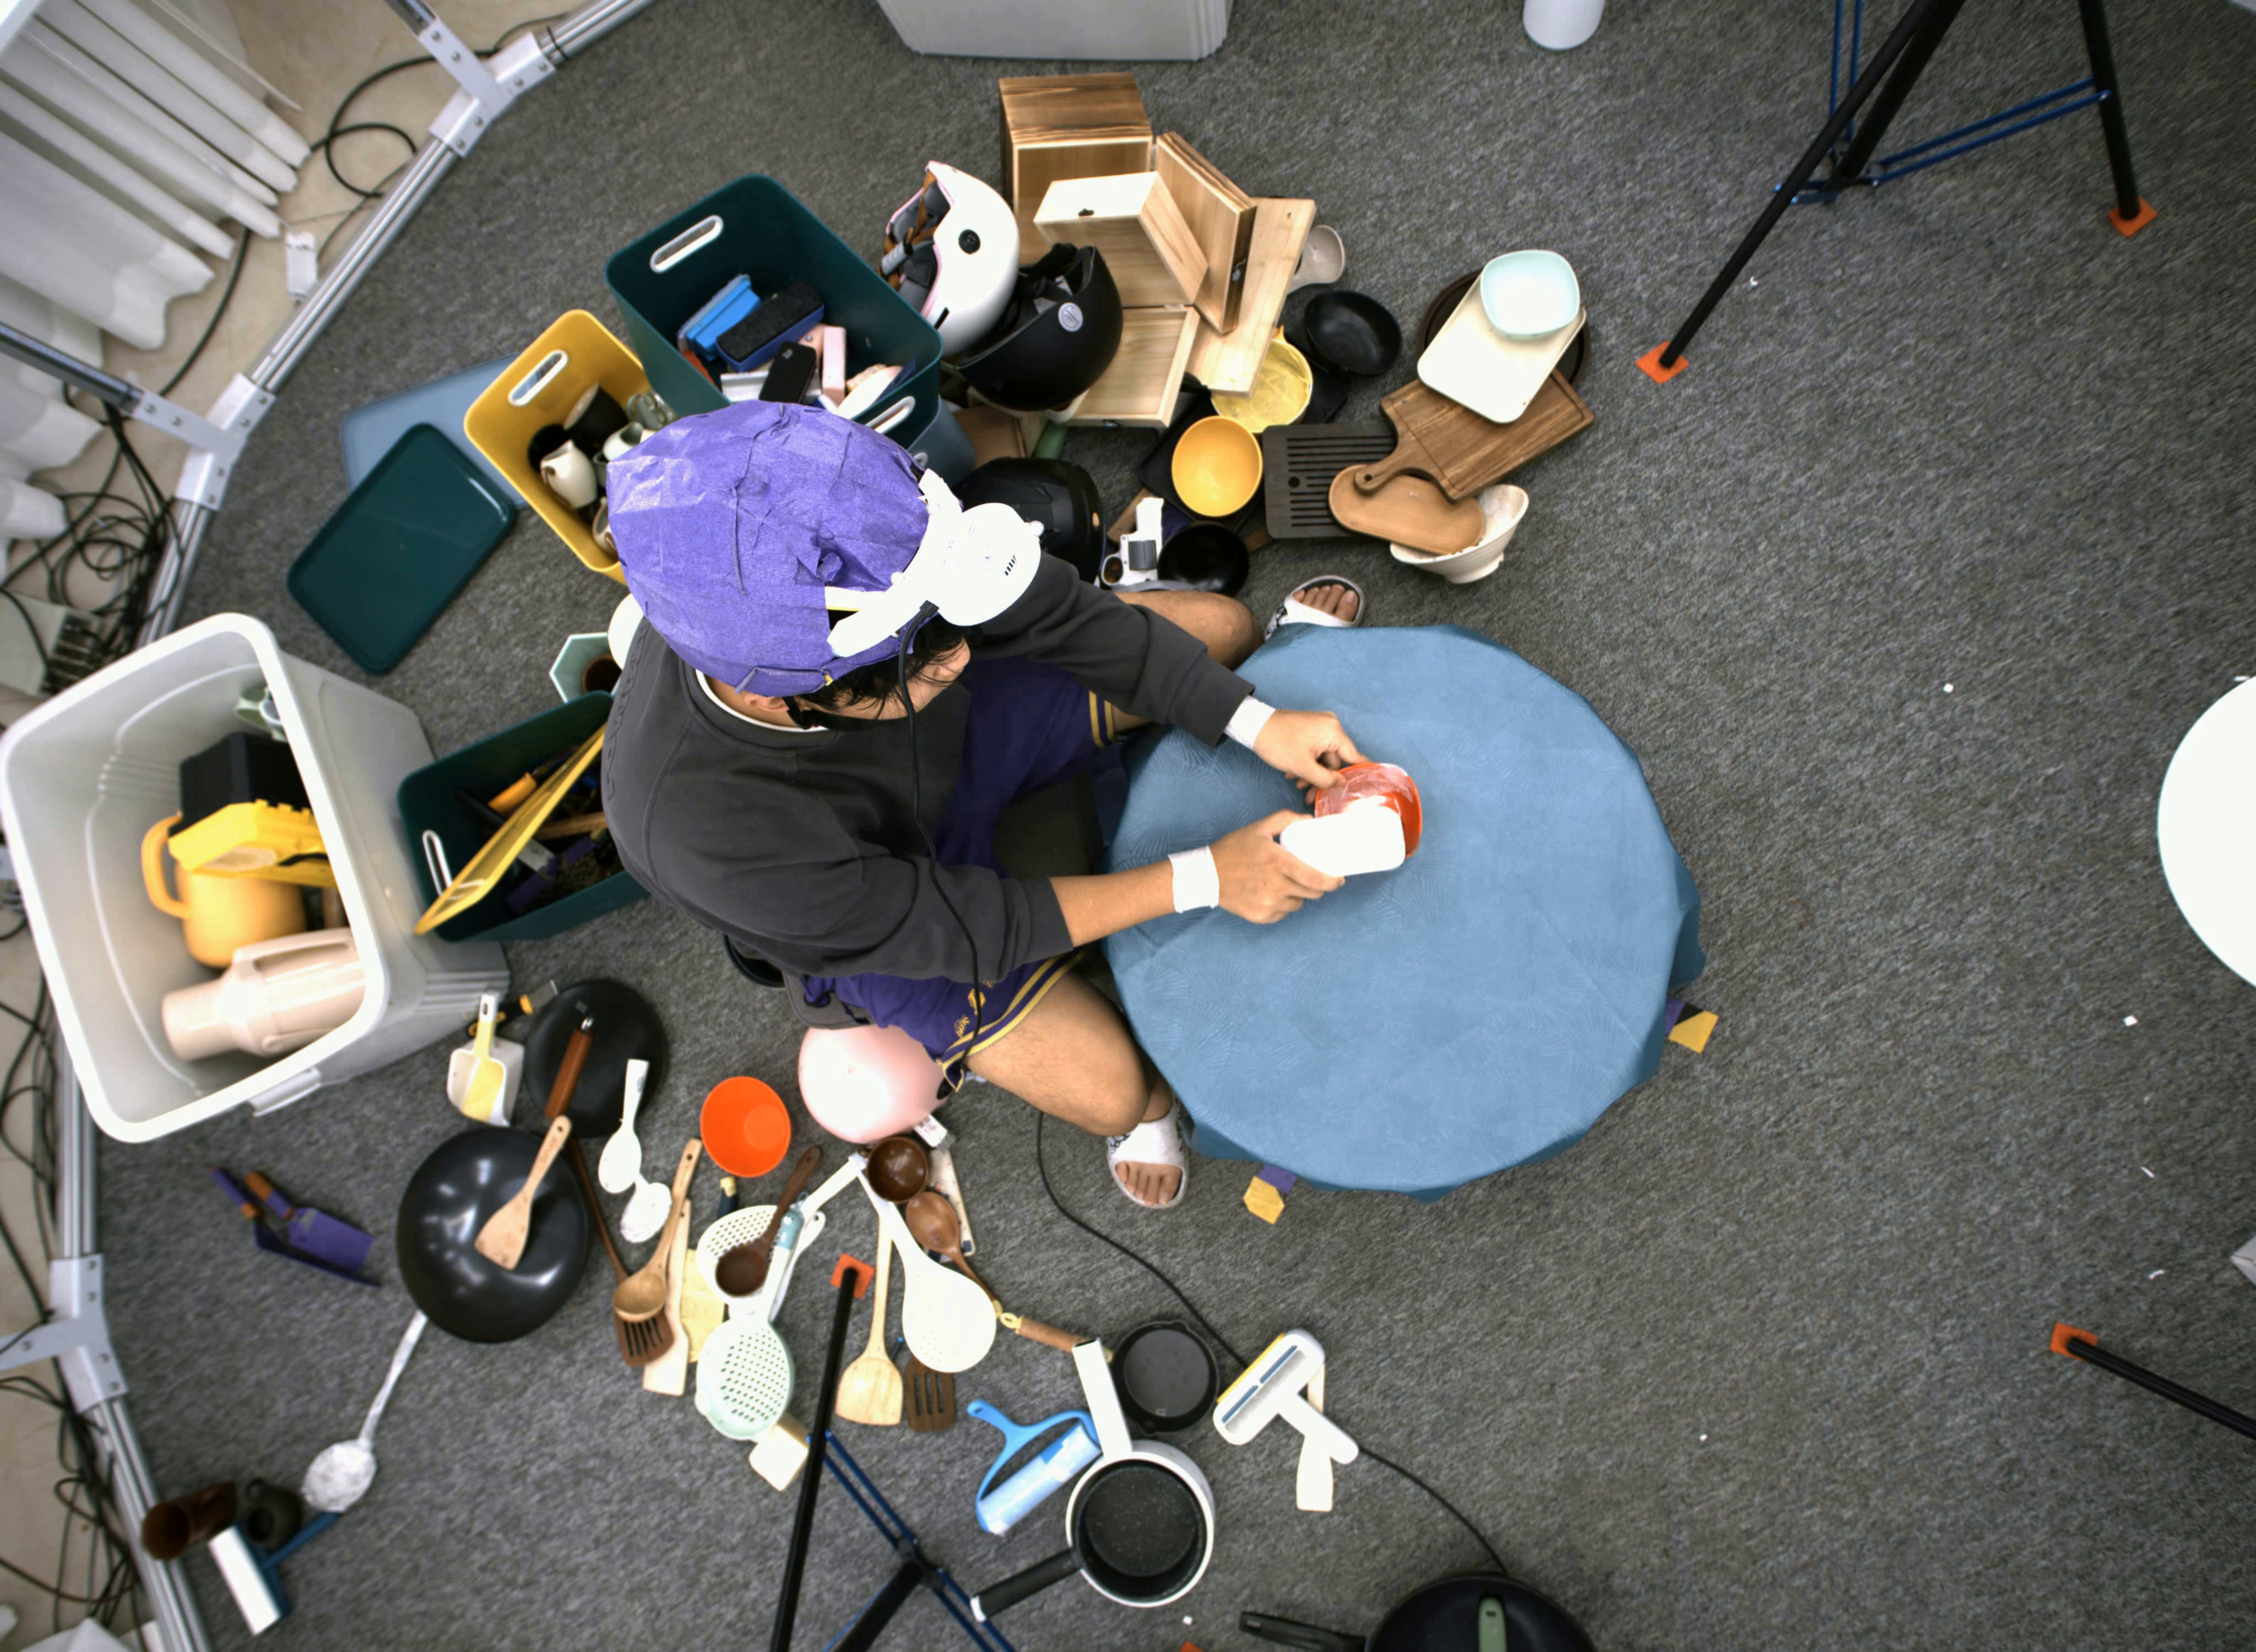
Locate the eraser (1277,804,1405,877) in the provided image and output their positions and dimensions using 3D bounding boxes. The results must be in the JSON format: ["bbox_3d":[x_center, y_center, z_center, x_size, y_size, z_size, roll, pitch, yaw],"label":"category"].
[{"bbox_3d":[0.214,0.014,1.398,0.133,0.034,0.063,-9,83,31],"label":"eraser"}]

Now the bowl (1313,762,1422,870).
[{"bbox_3d":[0.252,-0.009,1.437,0.119,0.051,0.118,-2,86,19],"label":"bowl"}]
